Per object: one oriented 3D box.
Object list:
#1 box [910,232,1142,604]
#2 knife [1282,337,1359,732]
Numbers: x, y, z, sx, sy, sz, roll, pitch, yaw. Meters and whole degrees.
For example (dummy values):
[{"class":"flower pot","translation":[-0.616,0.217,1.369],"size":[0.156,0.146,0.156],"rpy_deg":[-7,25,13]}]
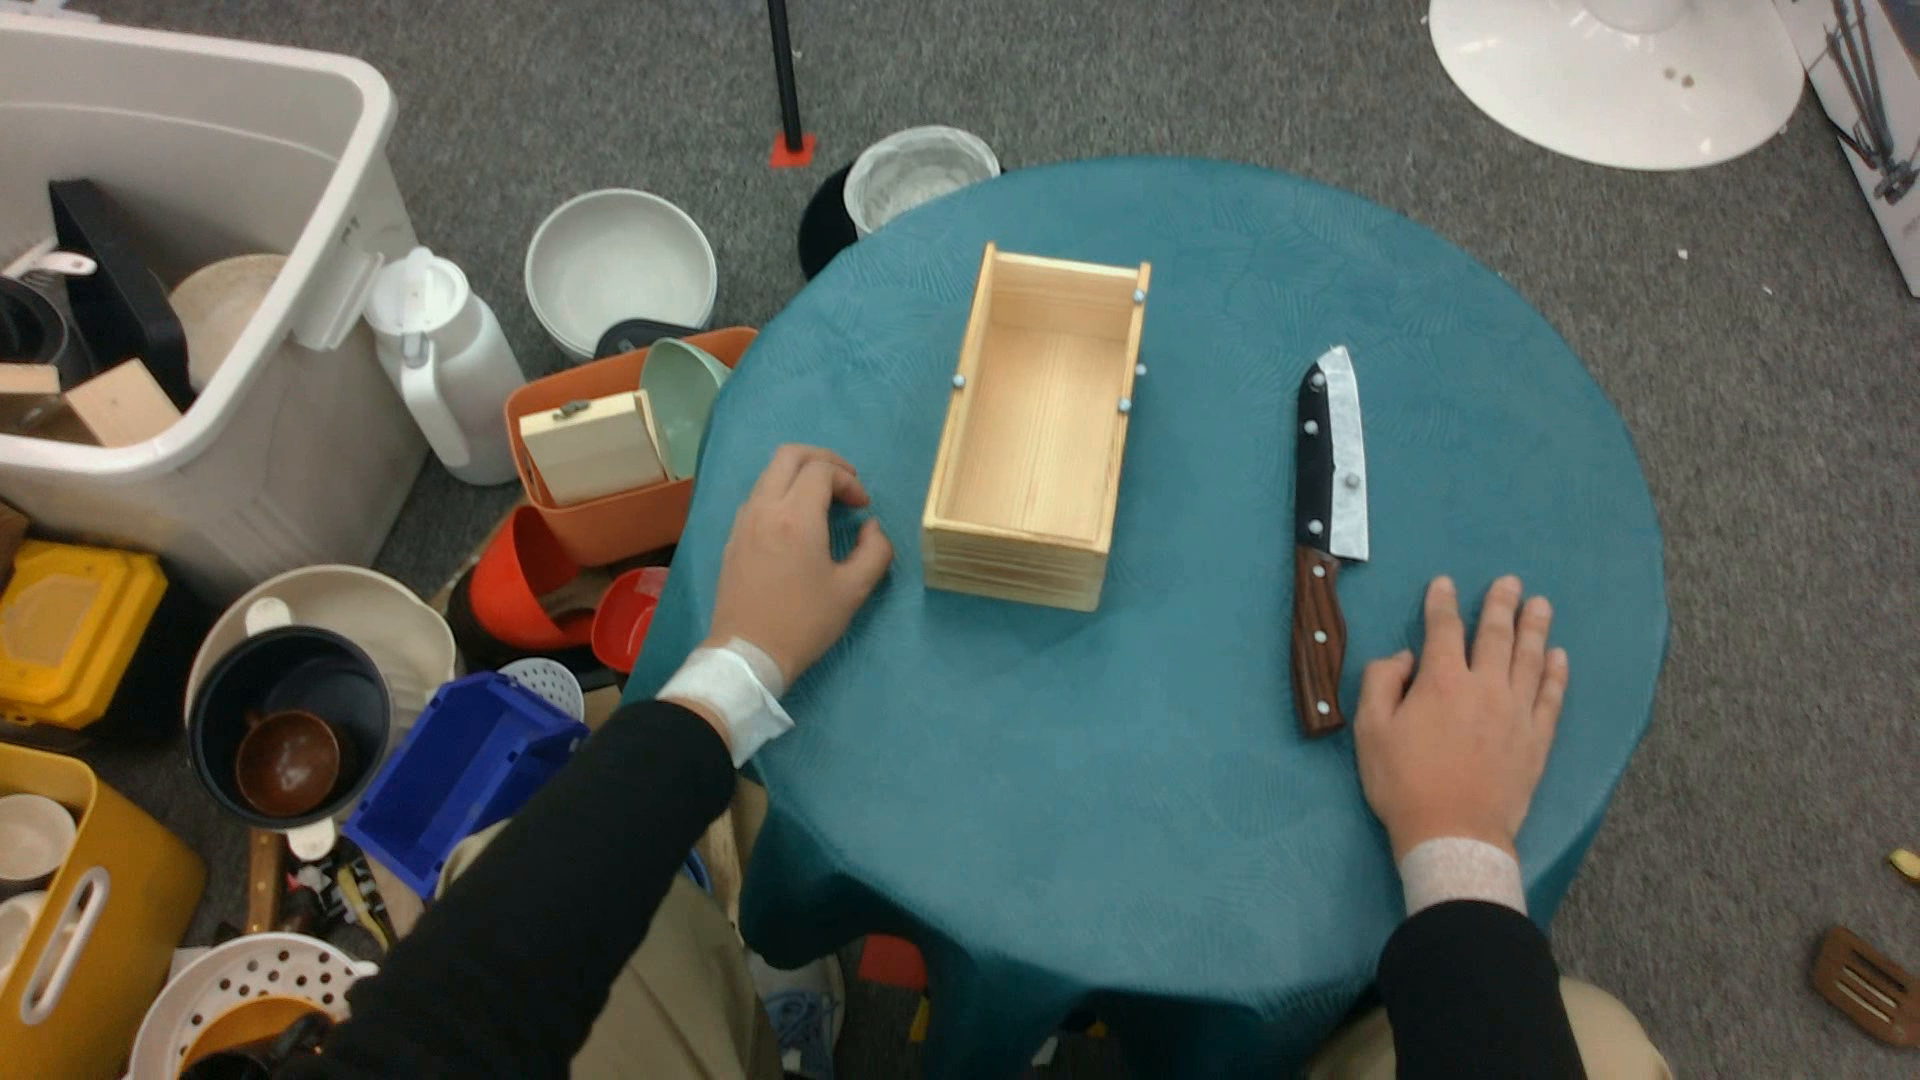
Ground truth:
[{"class":"box","translation":[0.043,-0.077,0.840],"size":[0.107,0.080,0.212],"rpy_deg":[8,61,5]},{"class":"knife","translation":[0.220,-0.015,0.844],"size":[0.050,0.020,0.290],"rpy_deg":[11,59,0]}]
